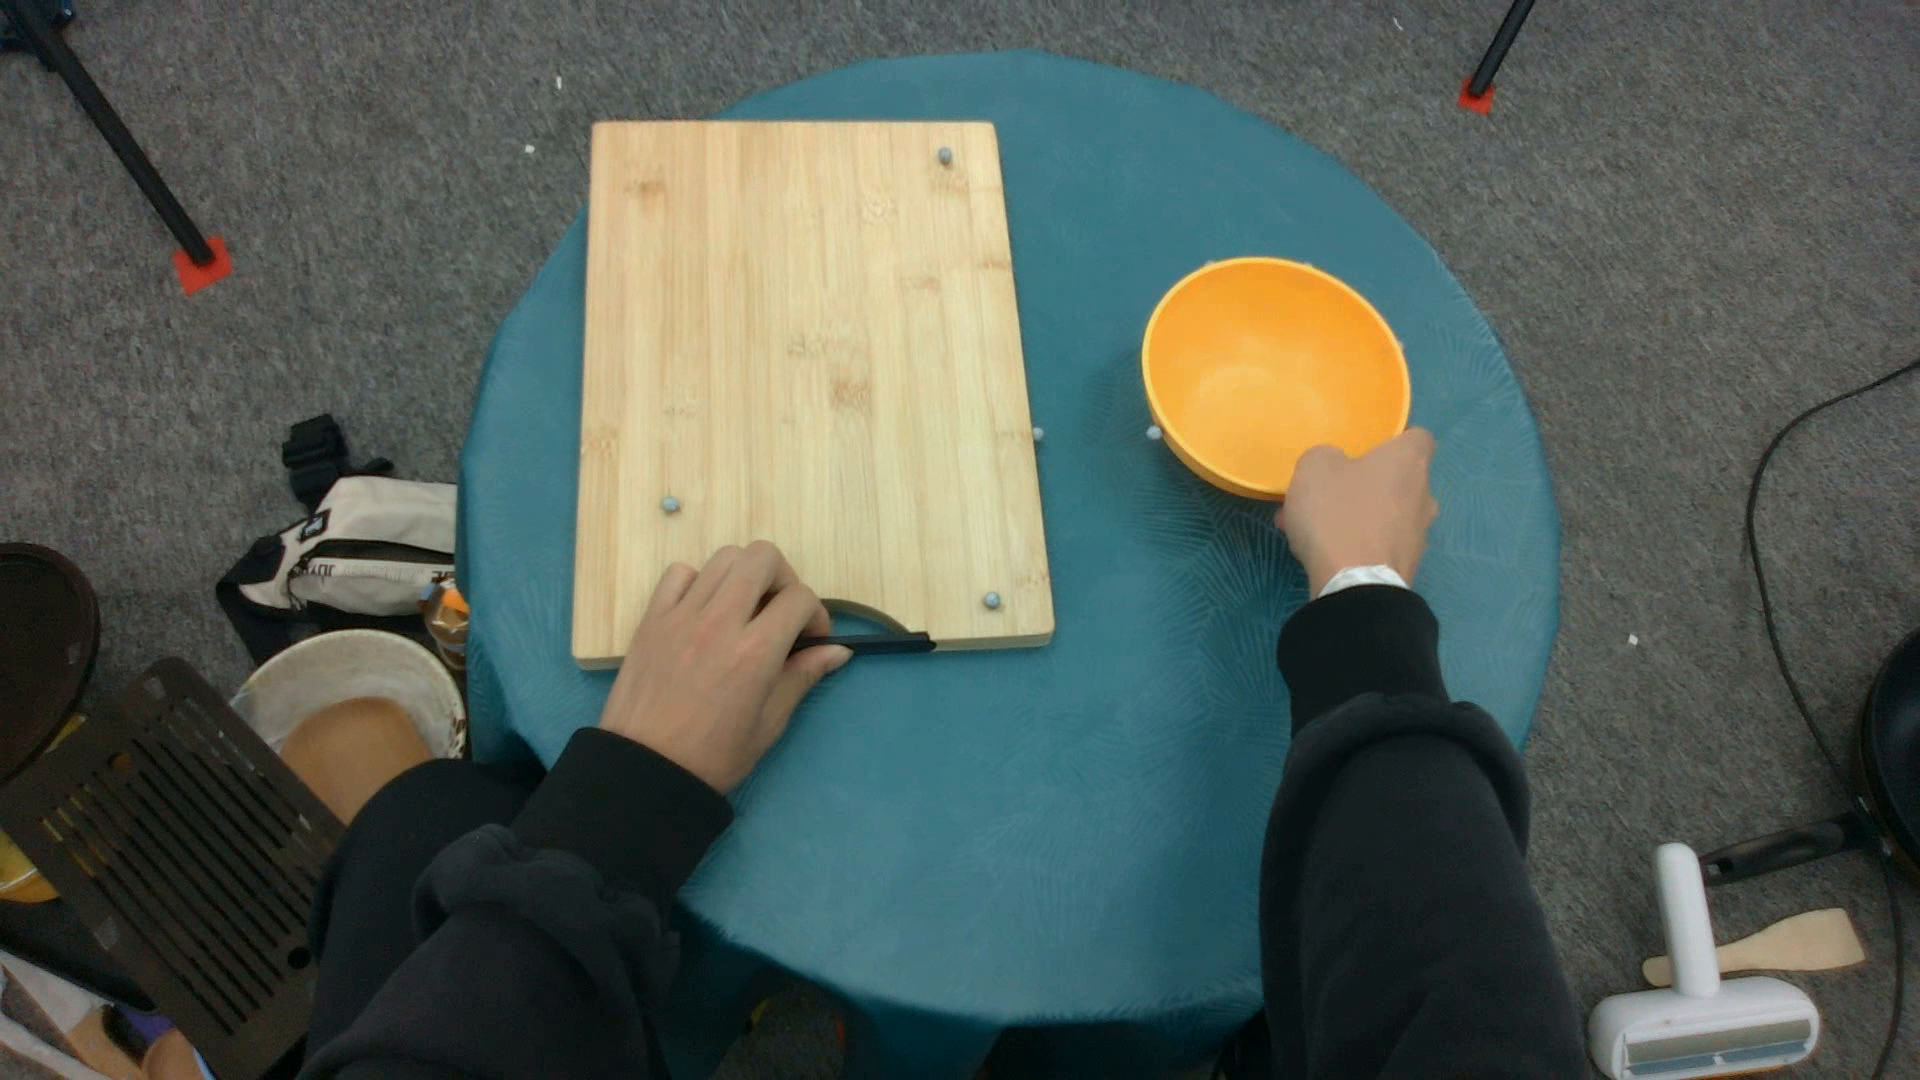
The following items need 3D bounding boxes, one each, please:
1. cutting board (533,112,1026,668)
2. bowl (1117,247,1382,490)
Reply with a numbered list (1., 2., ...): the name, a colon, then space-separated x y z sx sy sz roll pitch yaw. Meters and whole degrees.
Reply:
1. cutting board: -0.101 -0.099 0.762 0.251 0.023 0.350 -3 64 -8
2. bowl: 0.153 -0.085 0.761 0.145 0.060 0.146 2 69 -5
